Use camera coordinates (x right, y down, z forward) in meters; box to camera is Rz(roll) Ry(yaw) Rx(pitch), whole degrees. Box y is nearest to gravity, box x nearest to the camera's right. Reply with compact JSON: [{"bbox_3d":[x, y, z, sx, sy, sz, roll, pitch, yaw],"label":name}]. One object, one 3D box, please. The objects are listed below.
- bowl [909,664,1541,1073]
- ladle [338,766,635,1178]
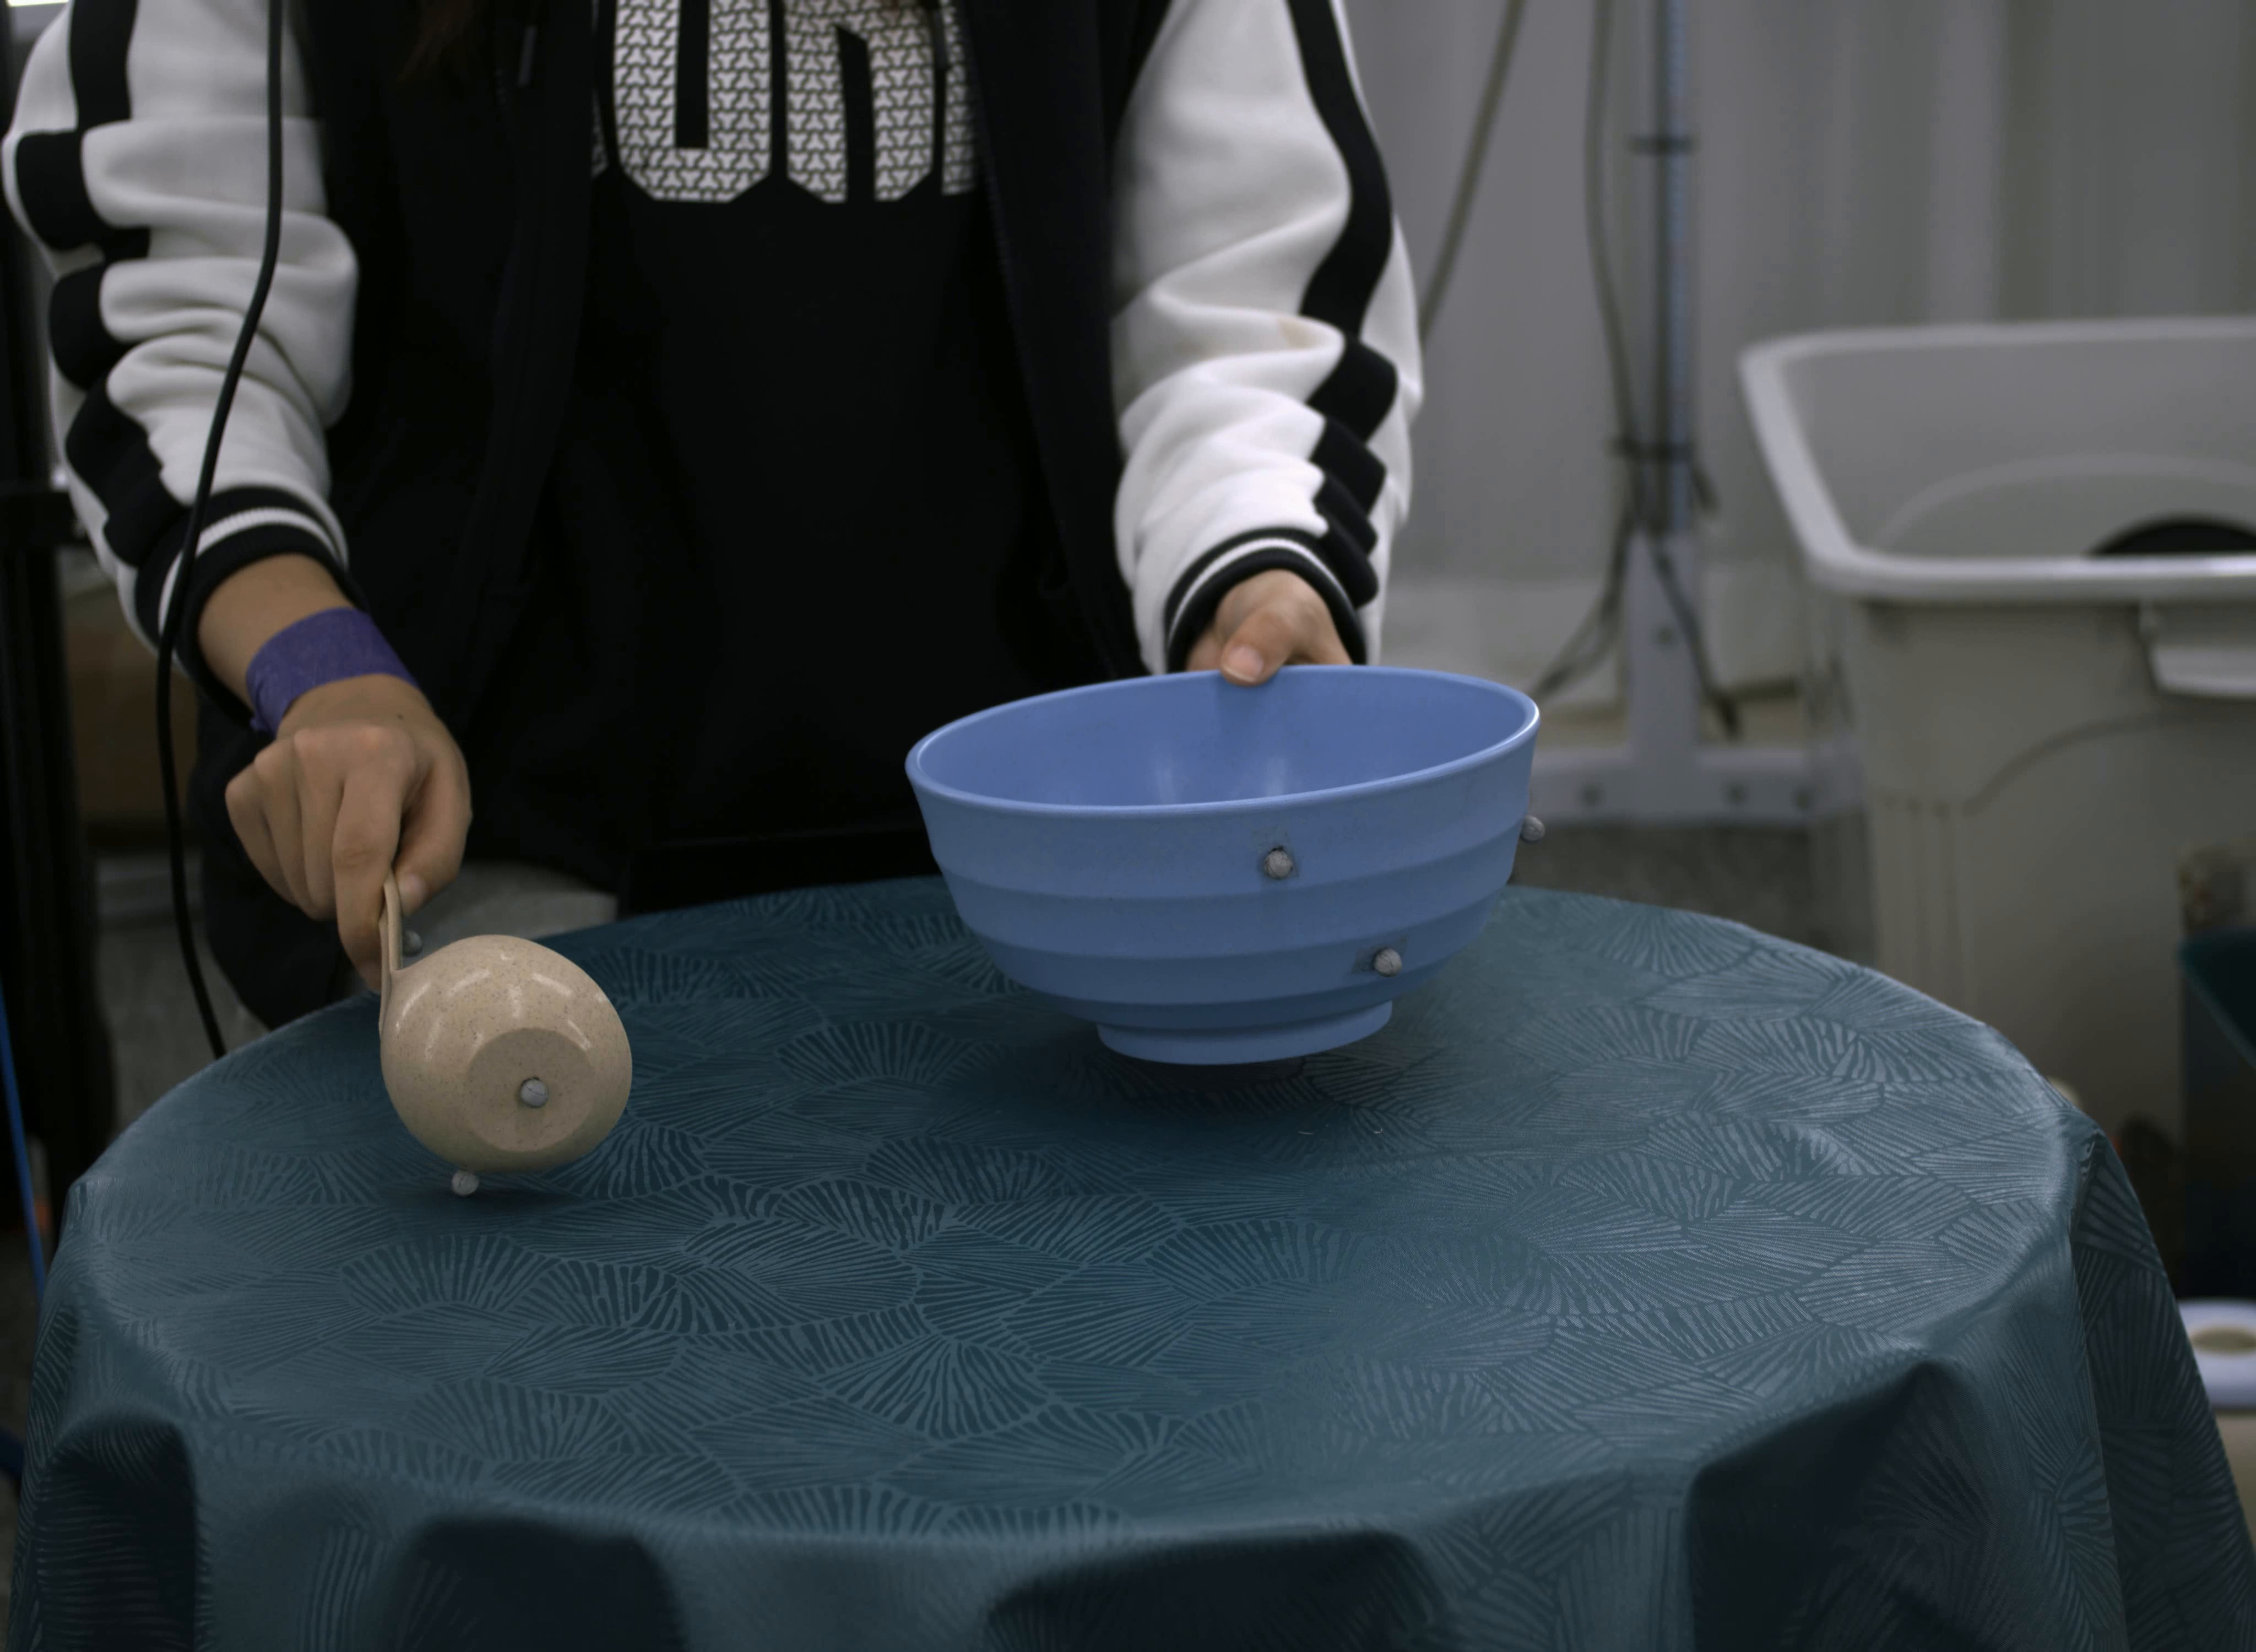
[{"bbox_3d":[0.034,0.018,1.647,0.195,0.095,0.197,-6,13,0],"label":"bowl"},{"bbox_3d":[-0.203,0.036,1.669,0.071,0.072,0.258,12,17,-16],"label":"ladle"}]
